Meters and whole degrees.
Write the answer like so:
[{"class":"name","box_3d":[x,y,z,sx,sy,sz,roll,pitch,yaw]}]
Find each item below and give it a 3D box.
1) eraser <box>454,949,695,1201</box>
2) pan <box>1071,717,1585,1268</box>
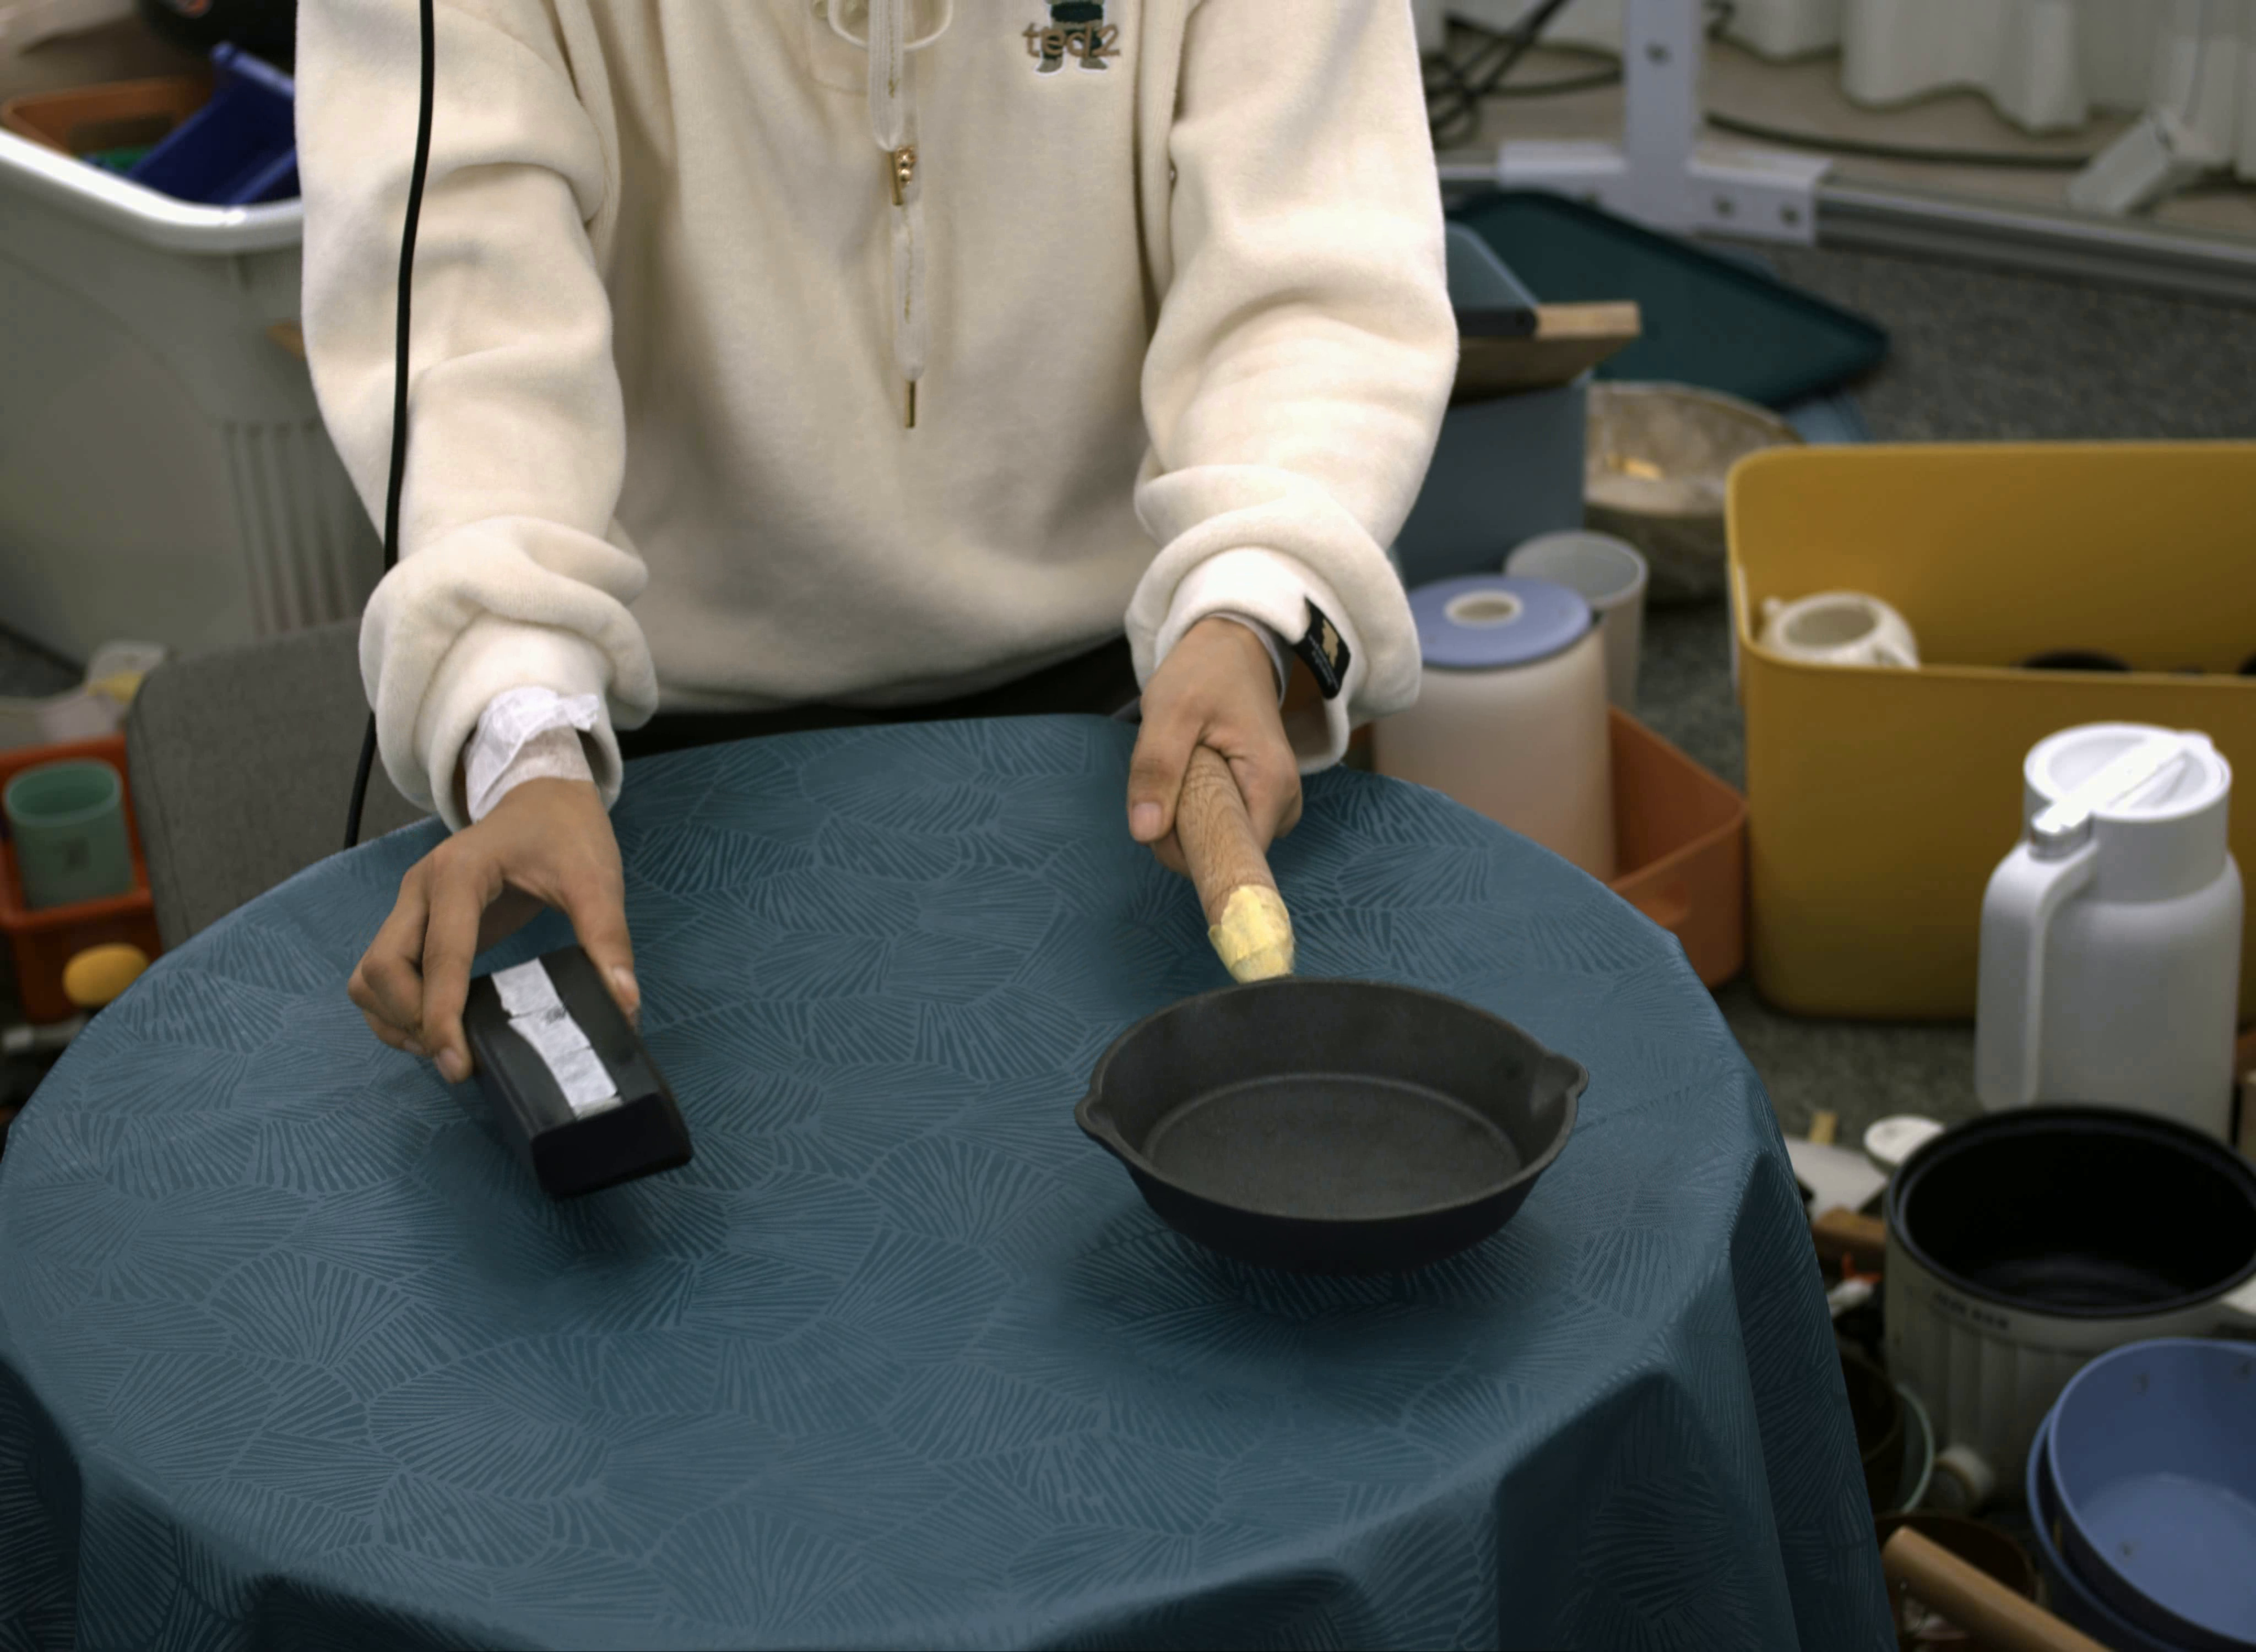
[{"class":"eraser","box_3d":[-0.184,0.082,1.865,0.053,0.030,0.126,-18,26,-13]},{"class":"pan","box_3d":[0.051,0.053,1.888,0.168,0.049,0.328,-5,27,-8]}]
